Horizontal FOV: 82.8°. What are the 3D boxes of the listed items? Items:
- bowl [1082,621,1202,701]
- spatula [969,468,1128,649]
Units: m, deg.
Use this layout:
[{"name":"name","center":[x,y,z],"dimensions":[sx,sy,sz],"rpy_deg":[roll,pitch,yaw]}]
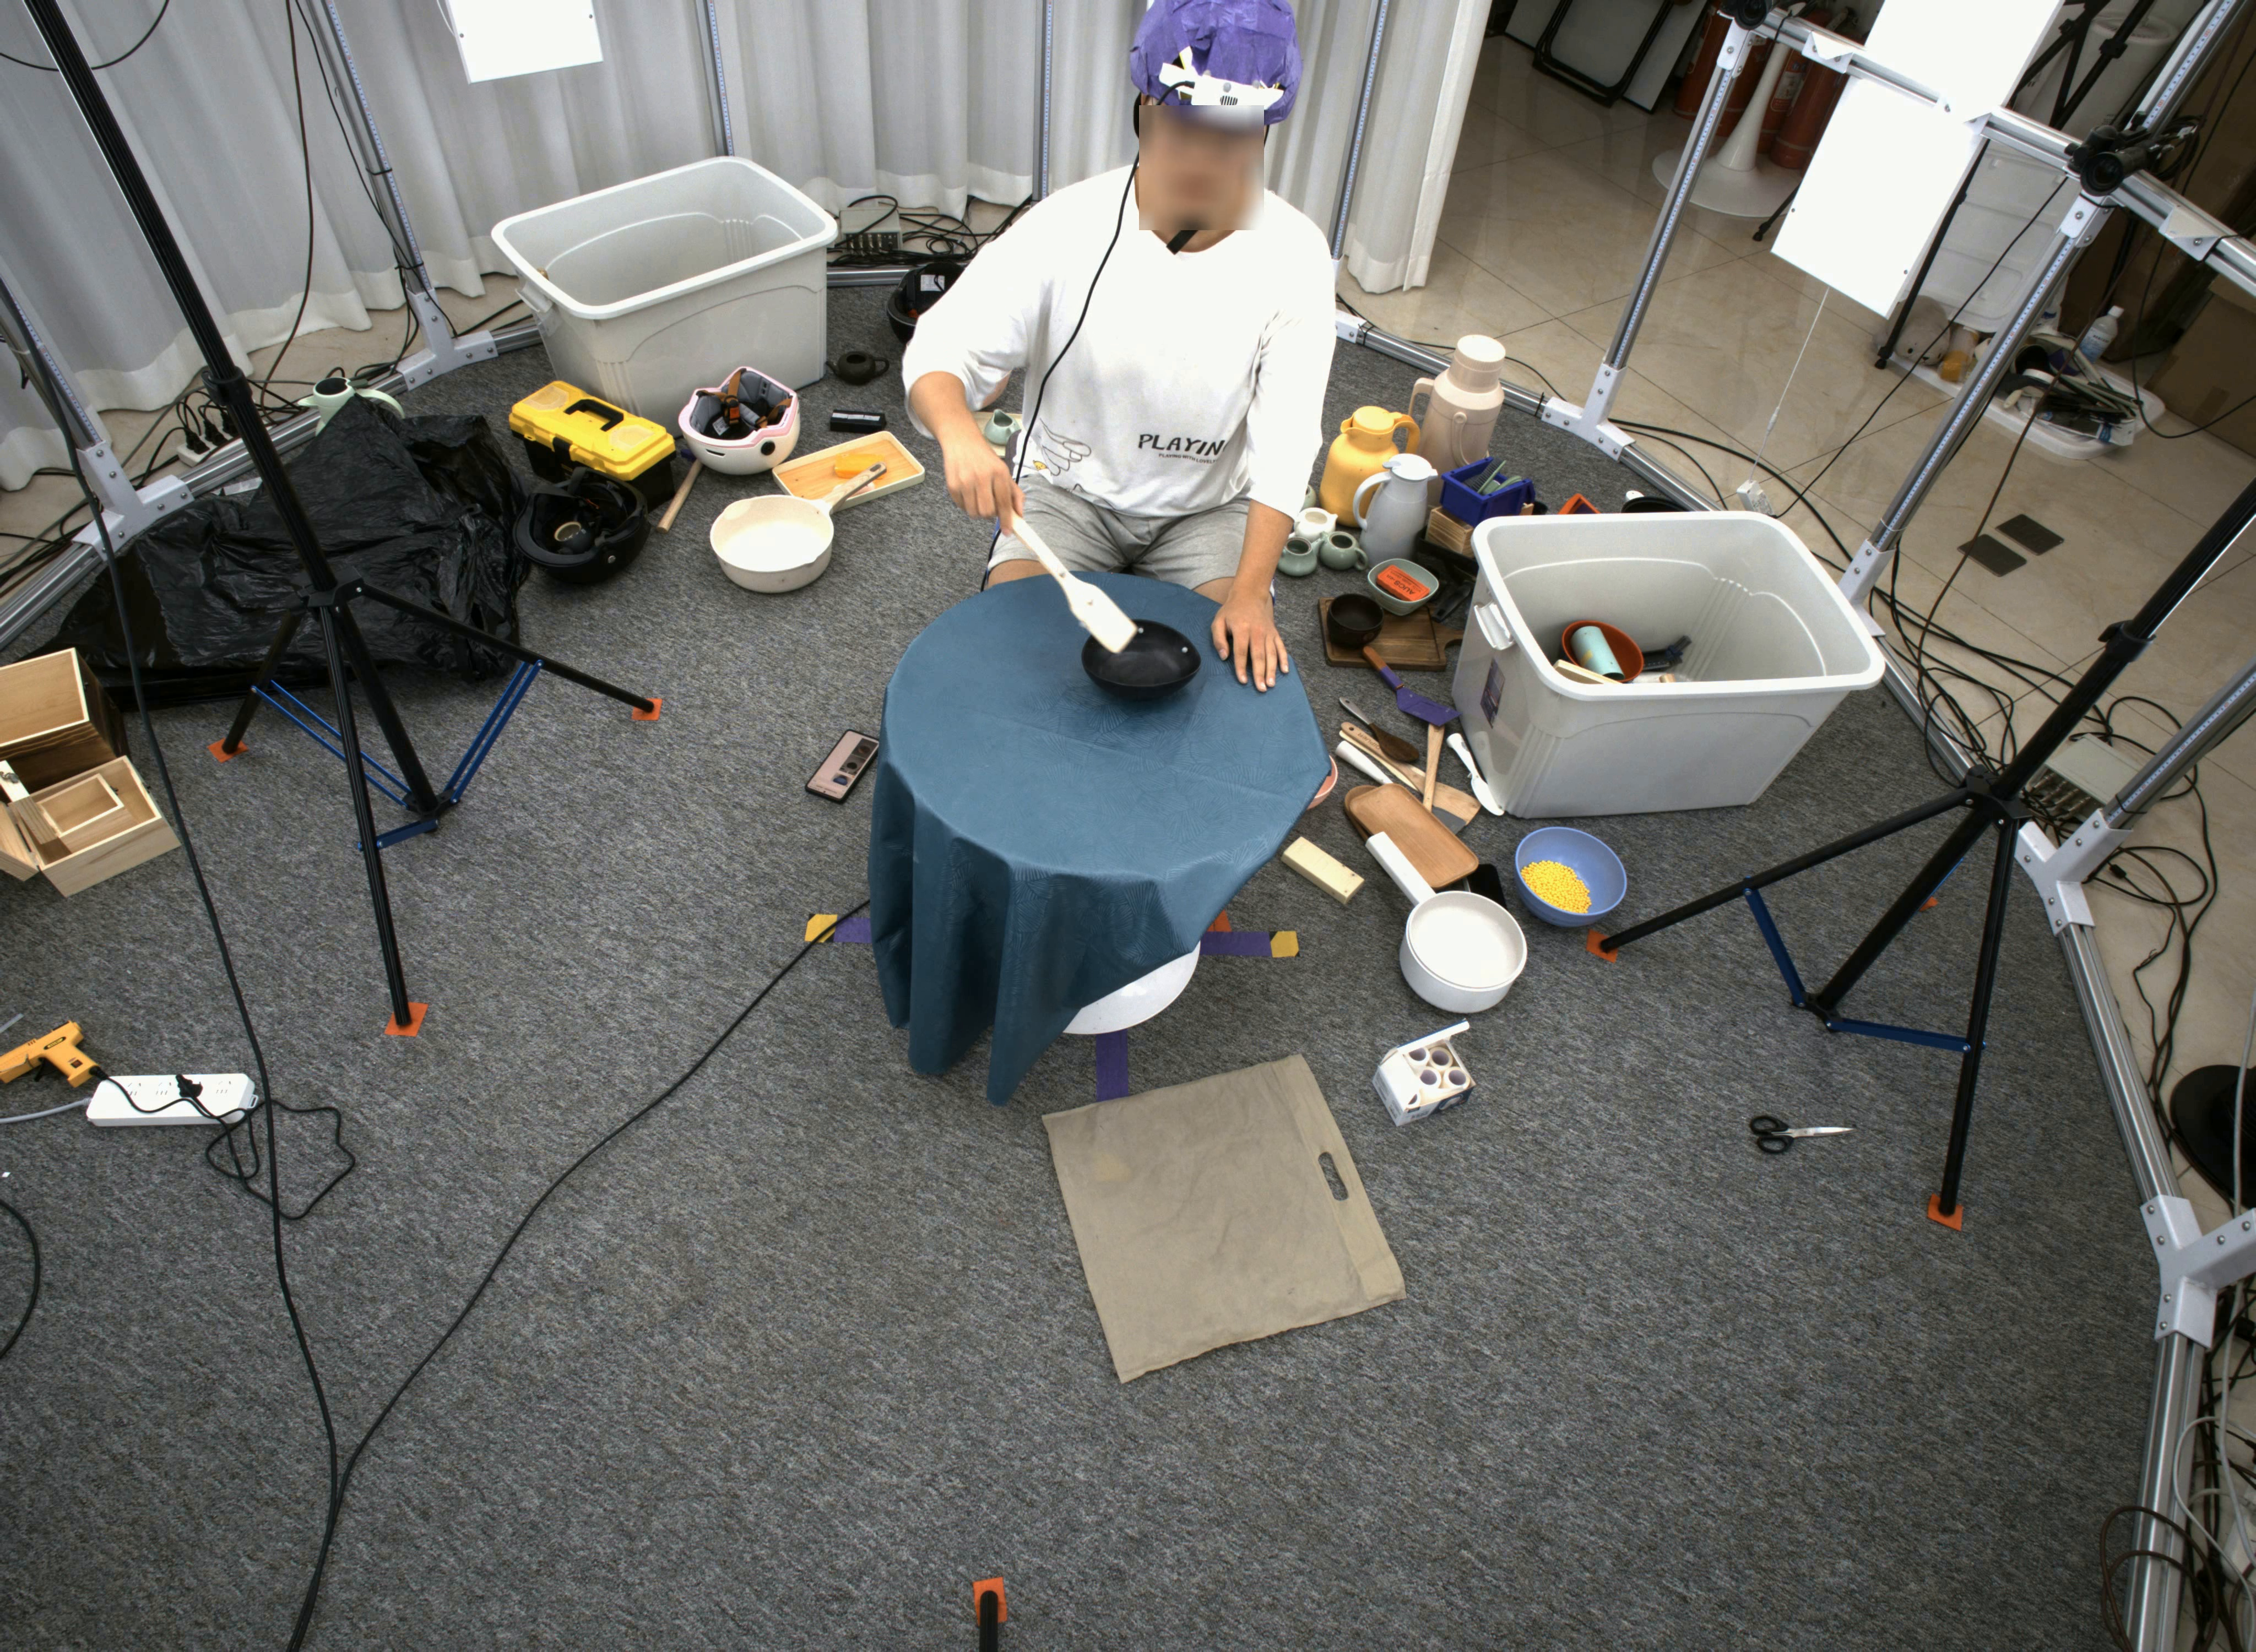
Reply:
[{"name":"bowl","center":[0.018,-0.225,1.820],"dimensions":[0.170,0.065,0.141],"rpy_deg":[-4,49,-9]},{"name":"spatula","center":[-0.110,-0.361,1.729],"dimensions":[0.290,0.010,0.073],"rpy_deg":[48,45,-12]}]
